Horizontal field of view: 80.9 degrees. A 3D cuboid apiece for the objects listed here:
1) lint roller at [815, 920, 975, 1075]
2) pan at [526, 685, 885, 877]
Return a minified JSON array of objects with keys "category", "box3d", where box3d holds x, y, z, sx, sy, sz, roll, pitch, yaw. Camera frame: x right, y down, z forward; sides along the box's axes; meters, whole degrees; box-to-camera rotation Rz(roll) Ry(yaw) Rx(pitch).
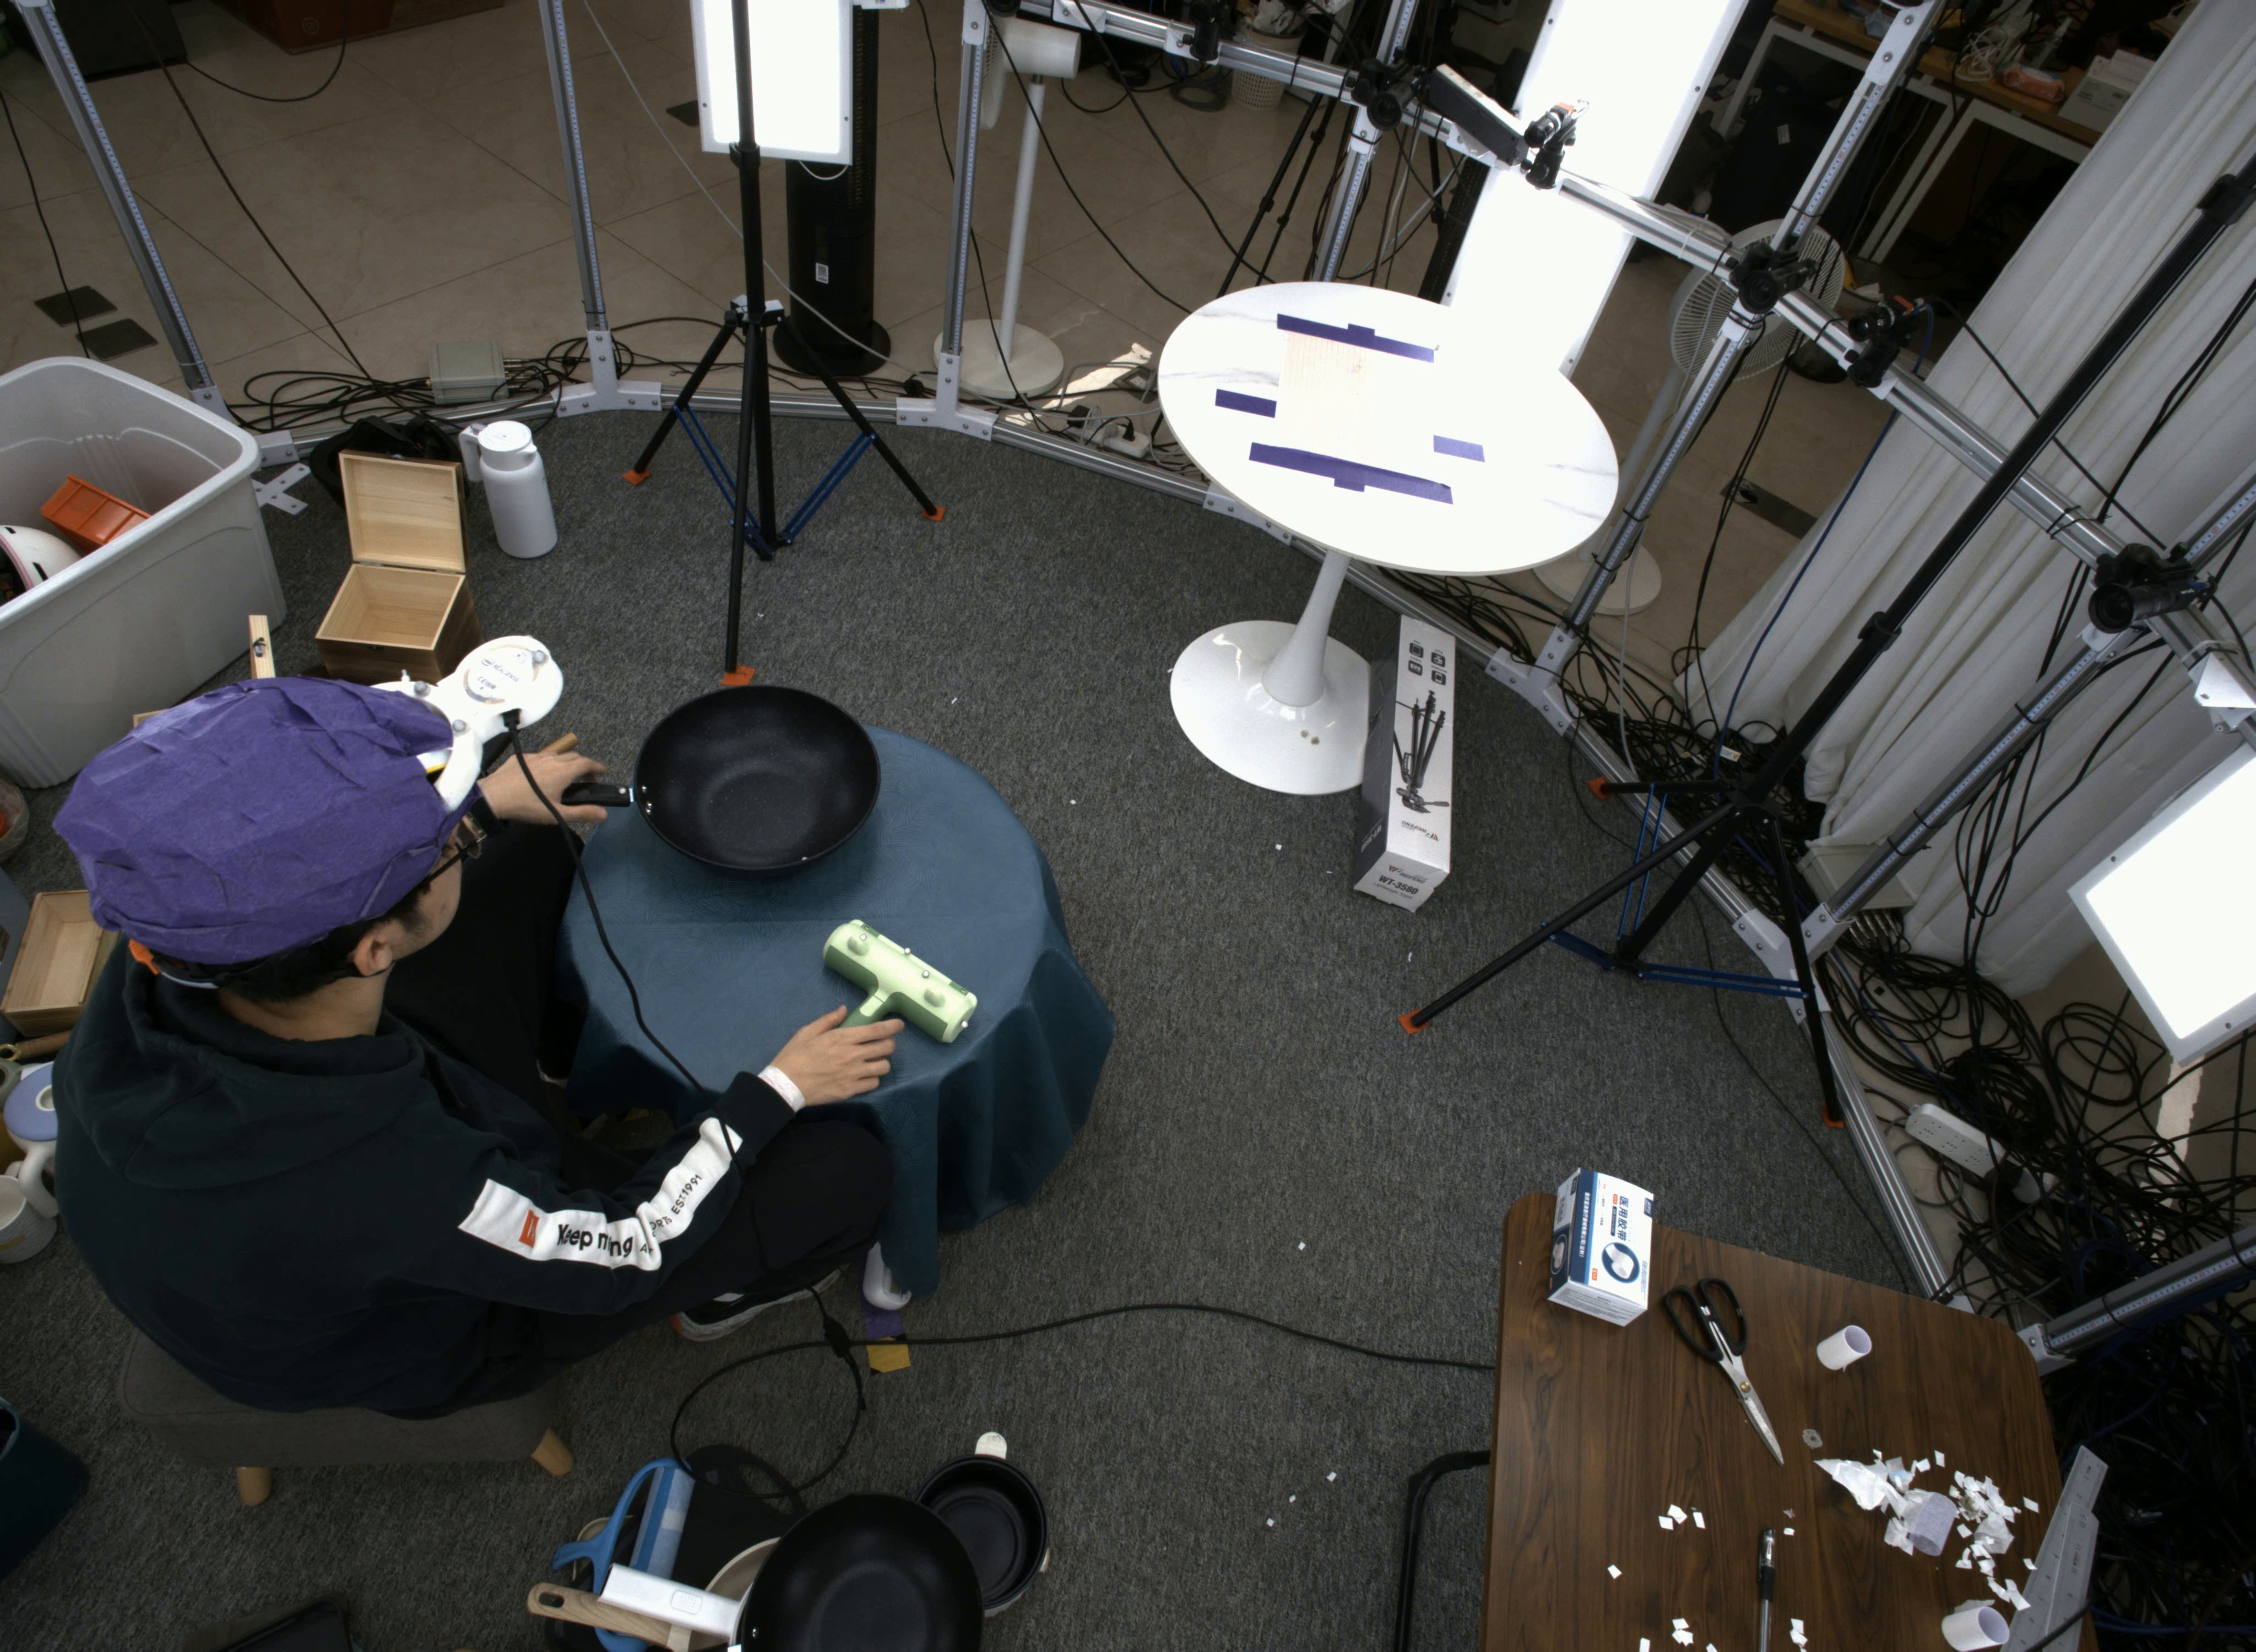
[{"category":"lint roller","box3d":[-0.310,0.214,1.553,0.195,0.084,0.183,32,48,10]},{"category":"pan","box3d":[-0.551,-0.040,1.657,0.479,0.114,0.302,-10,56,-22]}]
